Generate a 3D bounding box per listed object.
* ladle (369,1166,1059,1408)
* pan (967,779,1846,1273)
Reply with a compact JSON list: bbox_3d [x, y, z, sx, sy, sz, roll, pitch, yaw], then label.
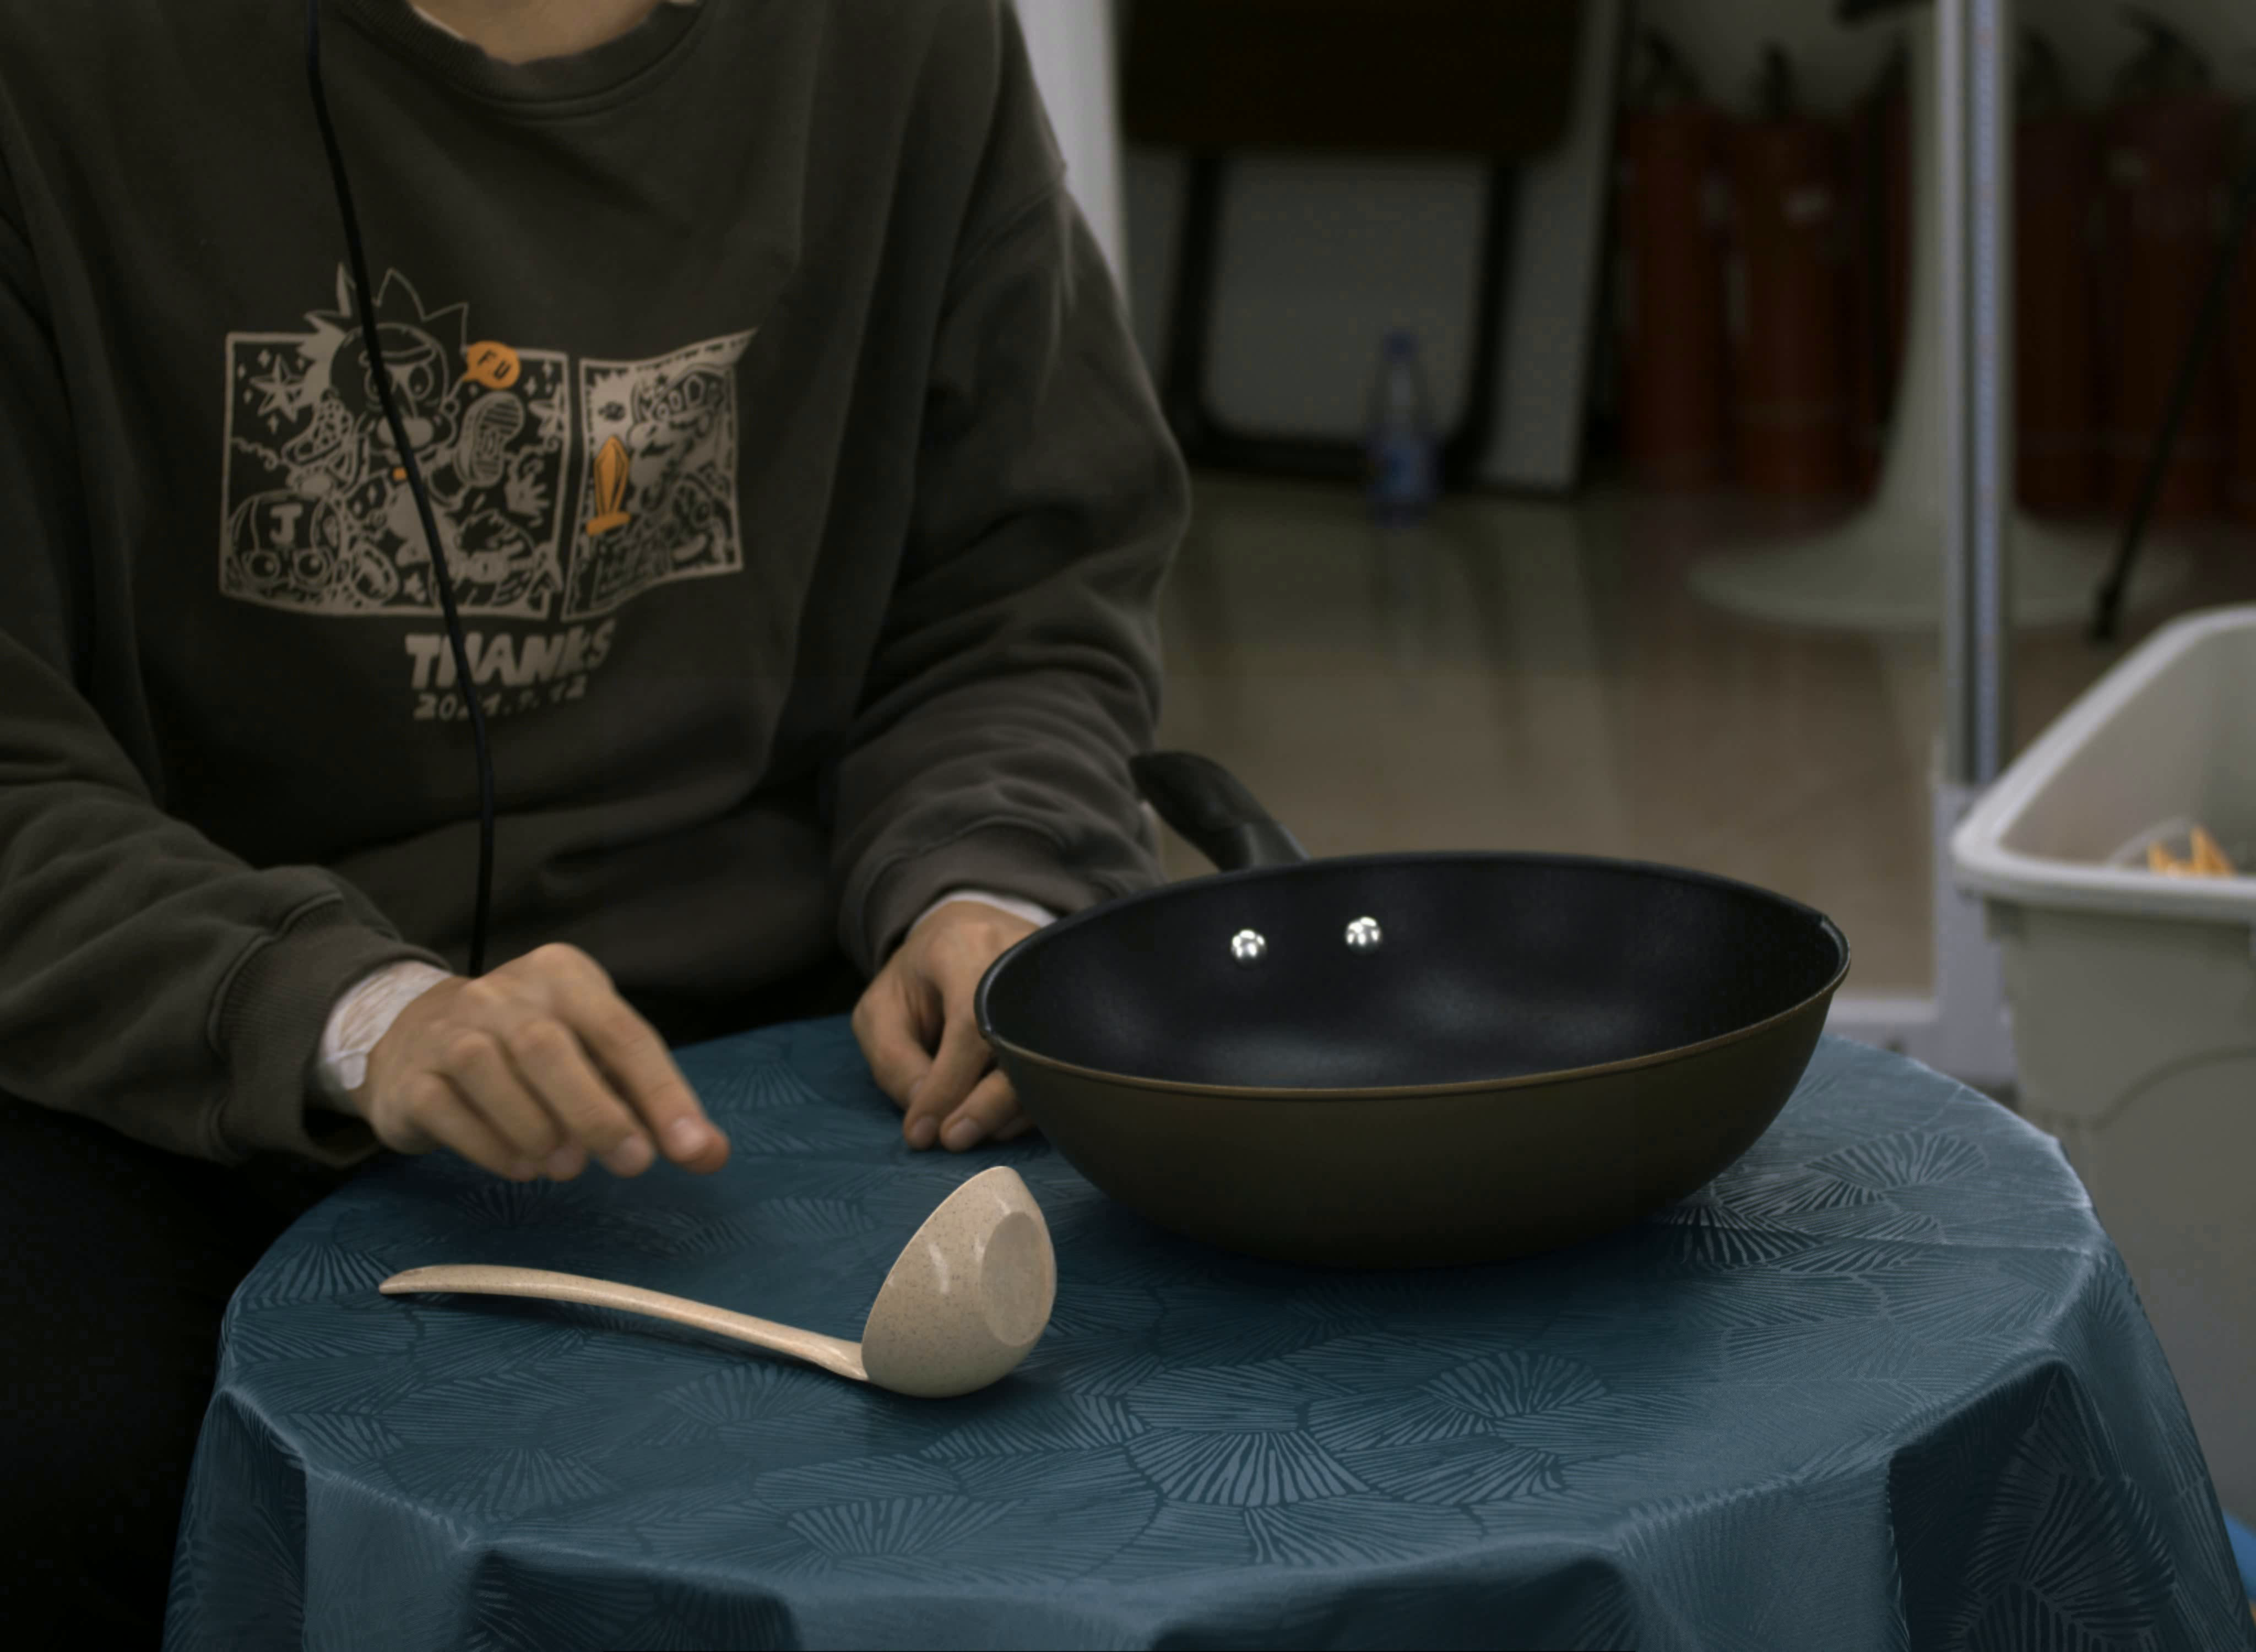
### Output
[{"bbox_3d":[-0.135,0.126,1.640,0.256,0.073,0.071,6,22,33],"label":"ladle"},{"bbox_3d":[0.069,0.064,1.818,0.283,0.088,0.466,-7,13,-12],"label":"pan"}]
